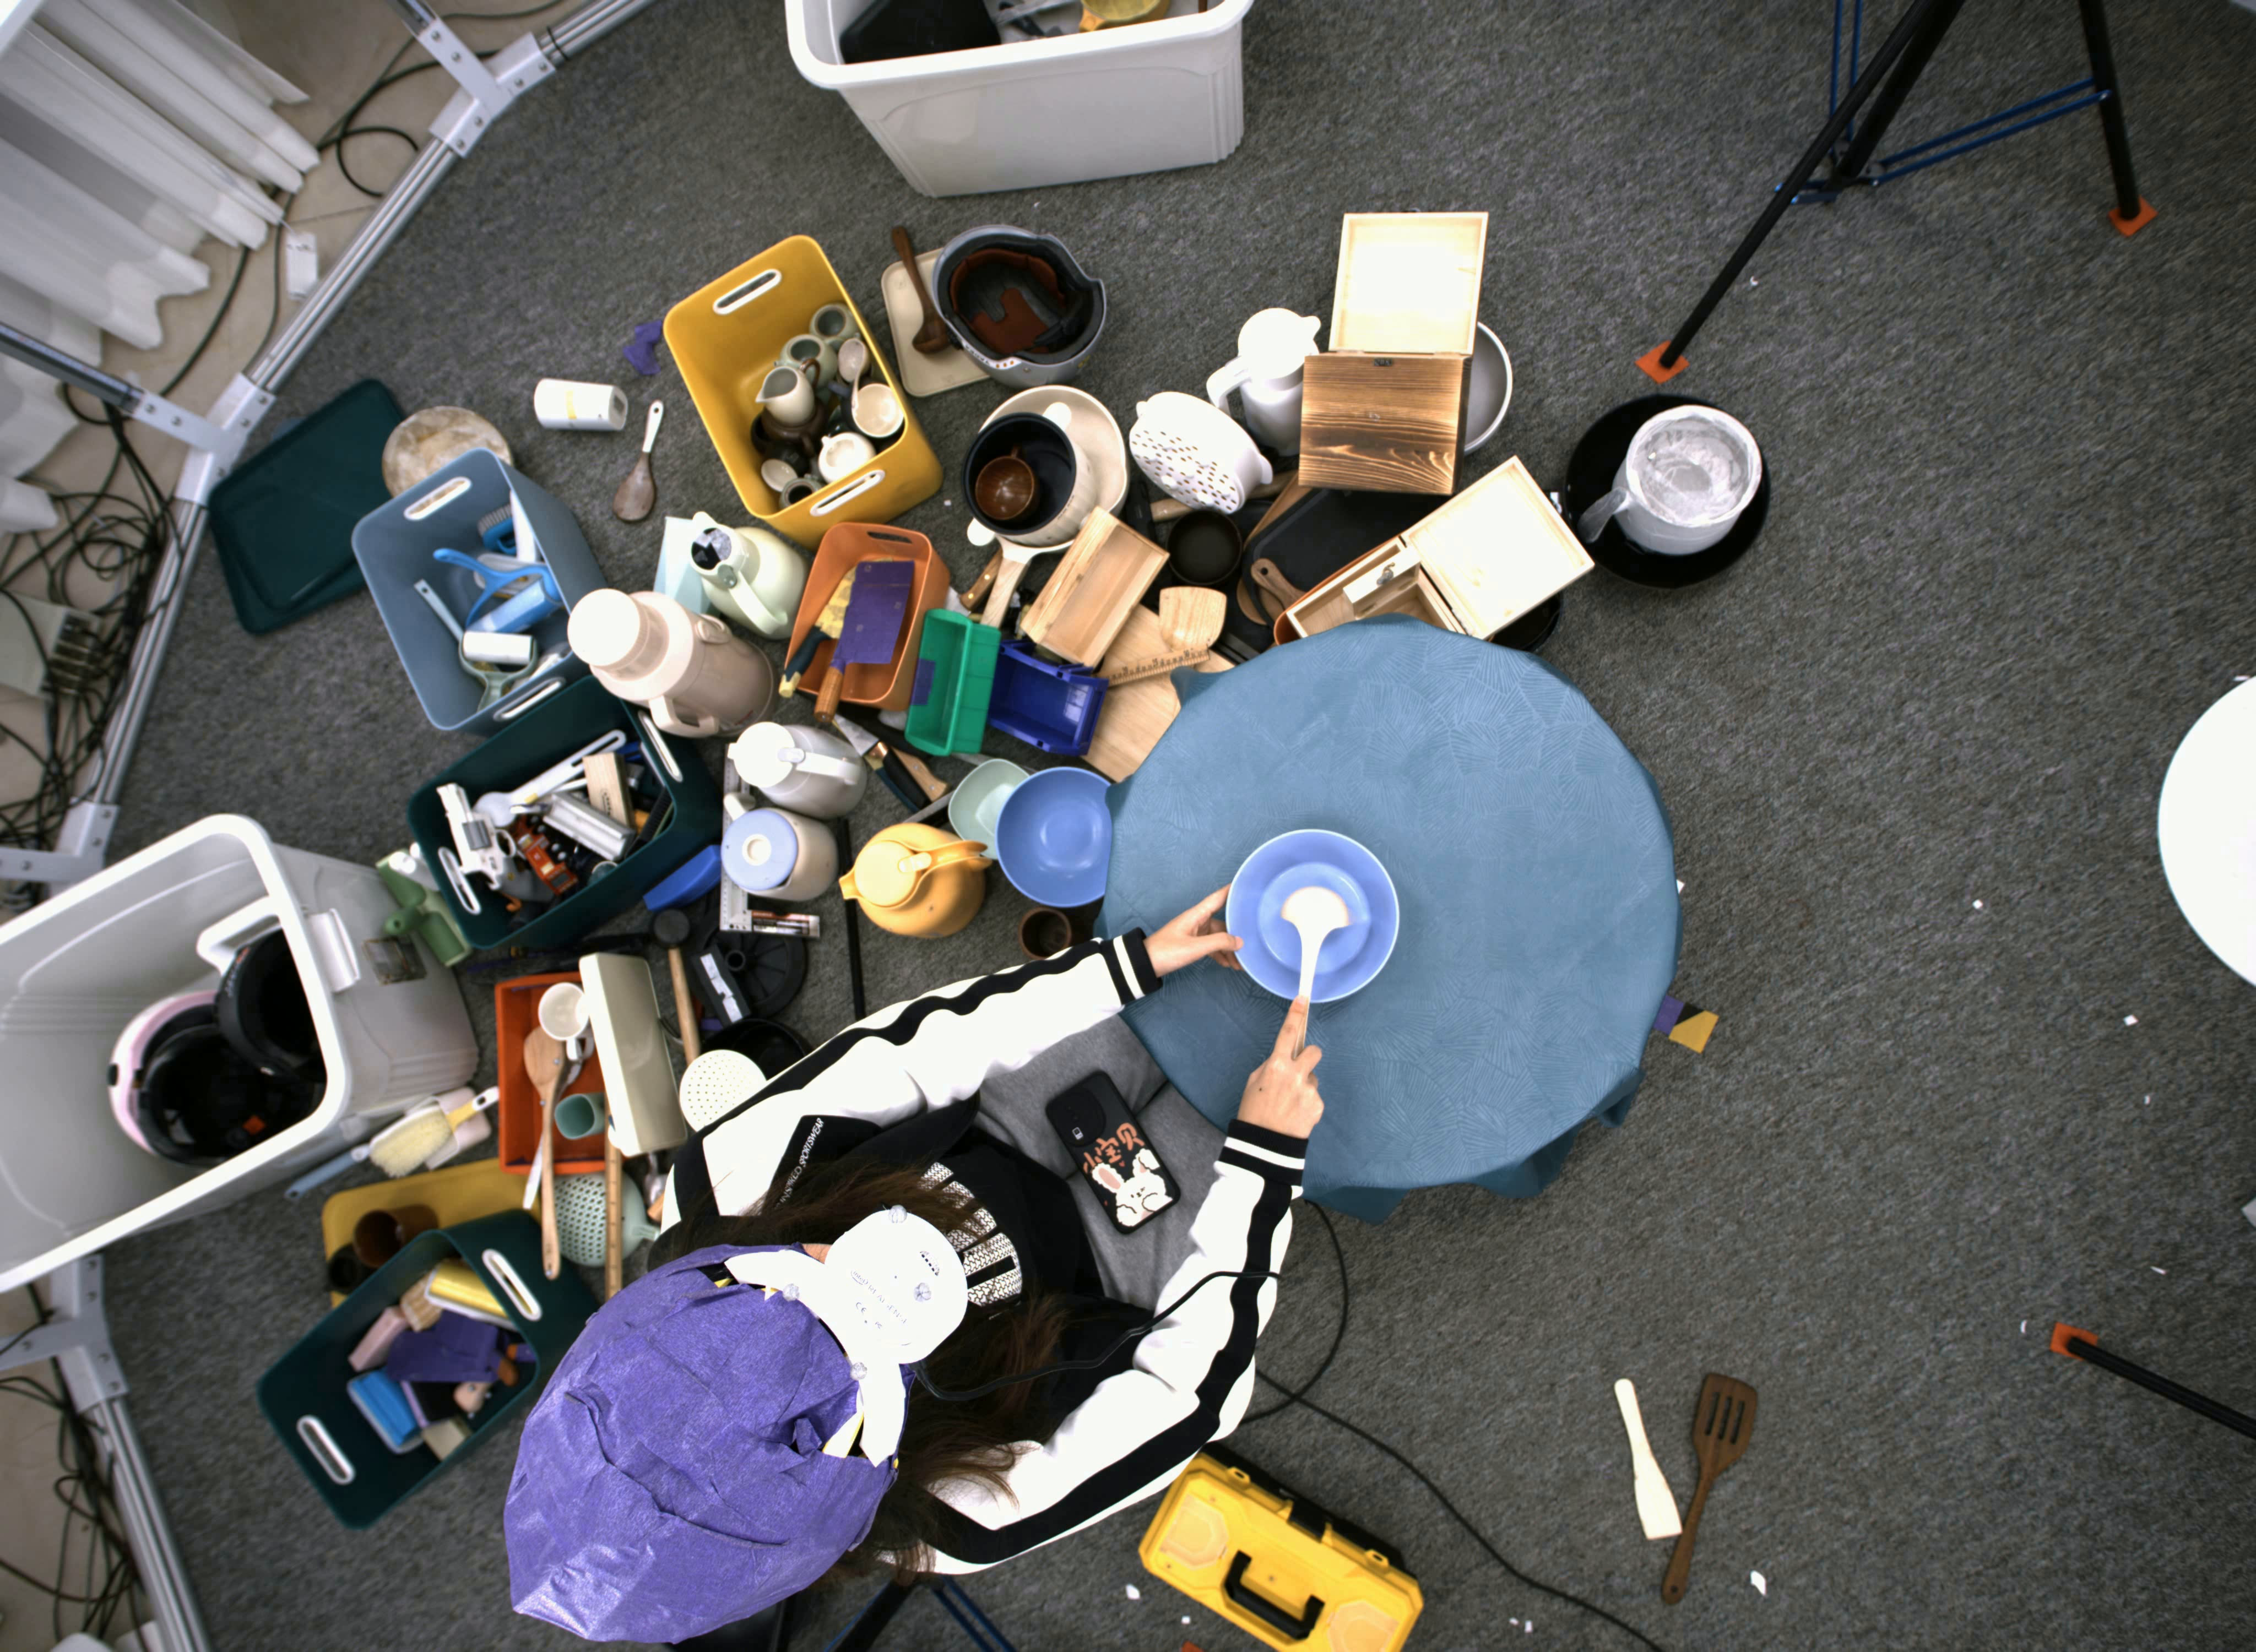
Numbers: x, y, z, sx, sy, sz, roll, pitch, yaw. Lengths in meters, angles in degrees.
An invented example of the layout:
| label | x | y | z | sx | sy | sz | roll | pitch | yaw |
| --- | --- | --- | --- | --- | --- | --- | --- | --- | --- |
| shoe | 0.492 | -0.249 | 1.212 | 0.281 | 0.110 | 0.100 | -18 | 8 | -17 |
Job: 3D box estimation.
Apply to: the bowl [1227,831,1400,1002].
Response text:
| label | x | y | z | sx | sy | sz | roll | pitch | yaw |
| --- | --- | --- | --- | --- | --- | --- | --- | --- | --- |
| bowl | 0.193 | 0.095 | 1.439 | 0.177 | 0.070 | 0.175 | -1 | 85 | 11 |

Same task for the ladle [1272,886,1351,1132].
| label | x | y | z | sx | sy | sz | roll | pitch | yaw |
| --- | --- | --- | --- | --- | --- | --- | --- | --- | --- |
| ladle | 0.175 | 0.186 | 1.407 | 0.072 | 0.073 | 0.251 | 9 | 77 | 9 |
